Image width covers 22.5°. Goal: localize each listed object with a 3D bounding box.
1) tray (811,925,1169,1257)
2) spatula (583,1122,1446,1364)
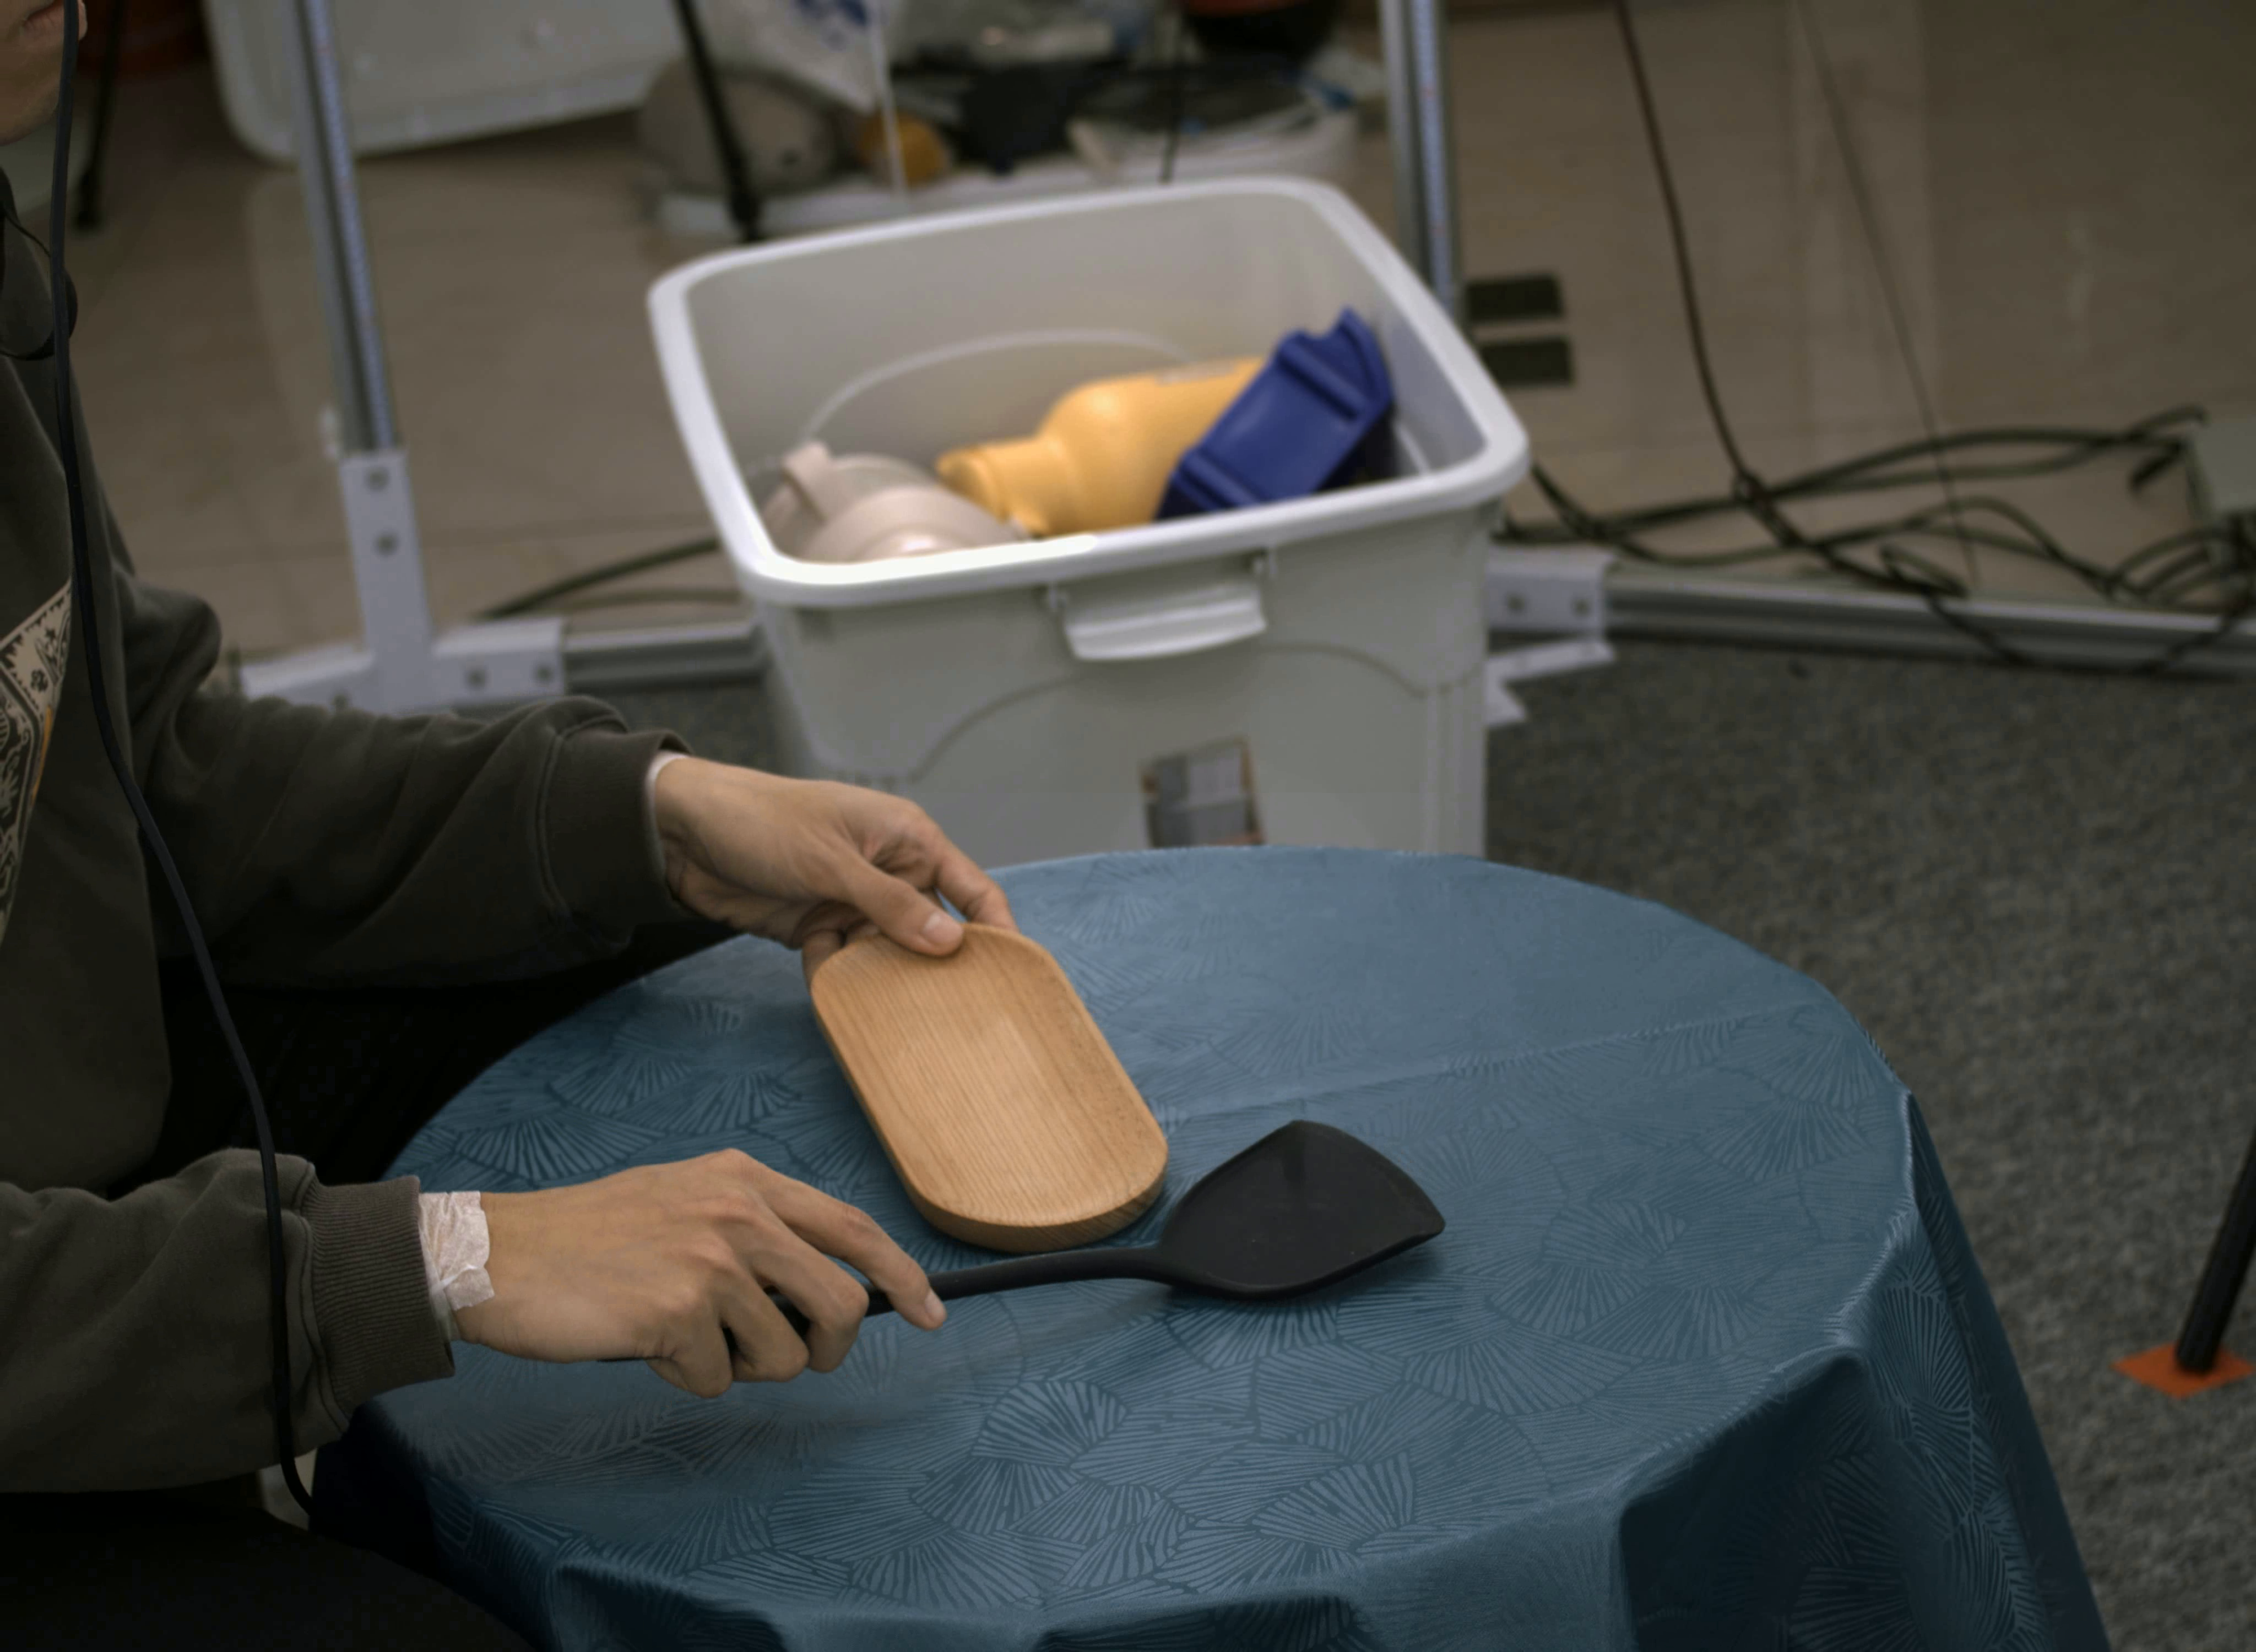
[{"bbox_3d":[-0.055,0.101,2.199,0.101,0.021,0.227,-13,33,-13],"label":"tray"},{"bbox_3d":[-0.044,0.157,2.035,0.325,0.041,0.098,-5,23,-28],"label":"spatula"}]
